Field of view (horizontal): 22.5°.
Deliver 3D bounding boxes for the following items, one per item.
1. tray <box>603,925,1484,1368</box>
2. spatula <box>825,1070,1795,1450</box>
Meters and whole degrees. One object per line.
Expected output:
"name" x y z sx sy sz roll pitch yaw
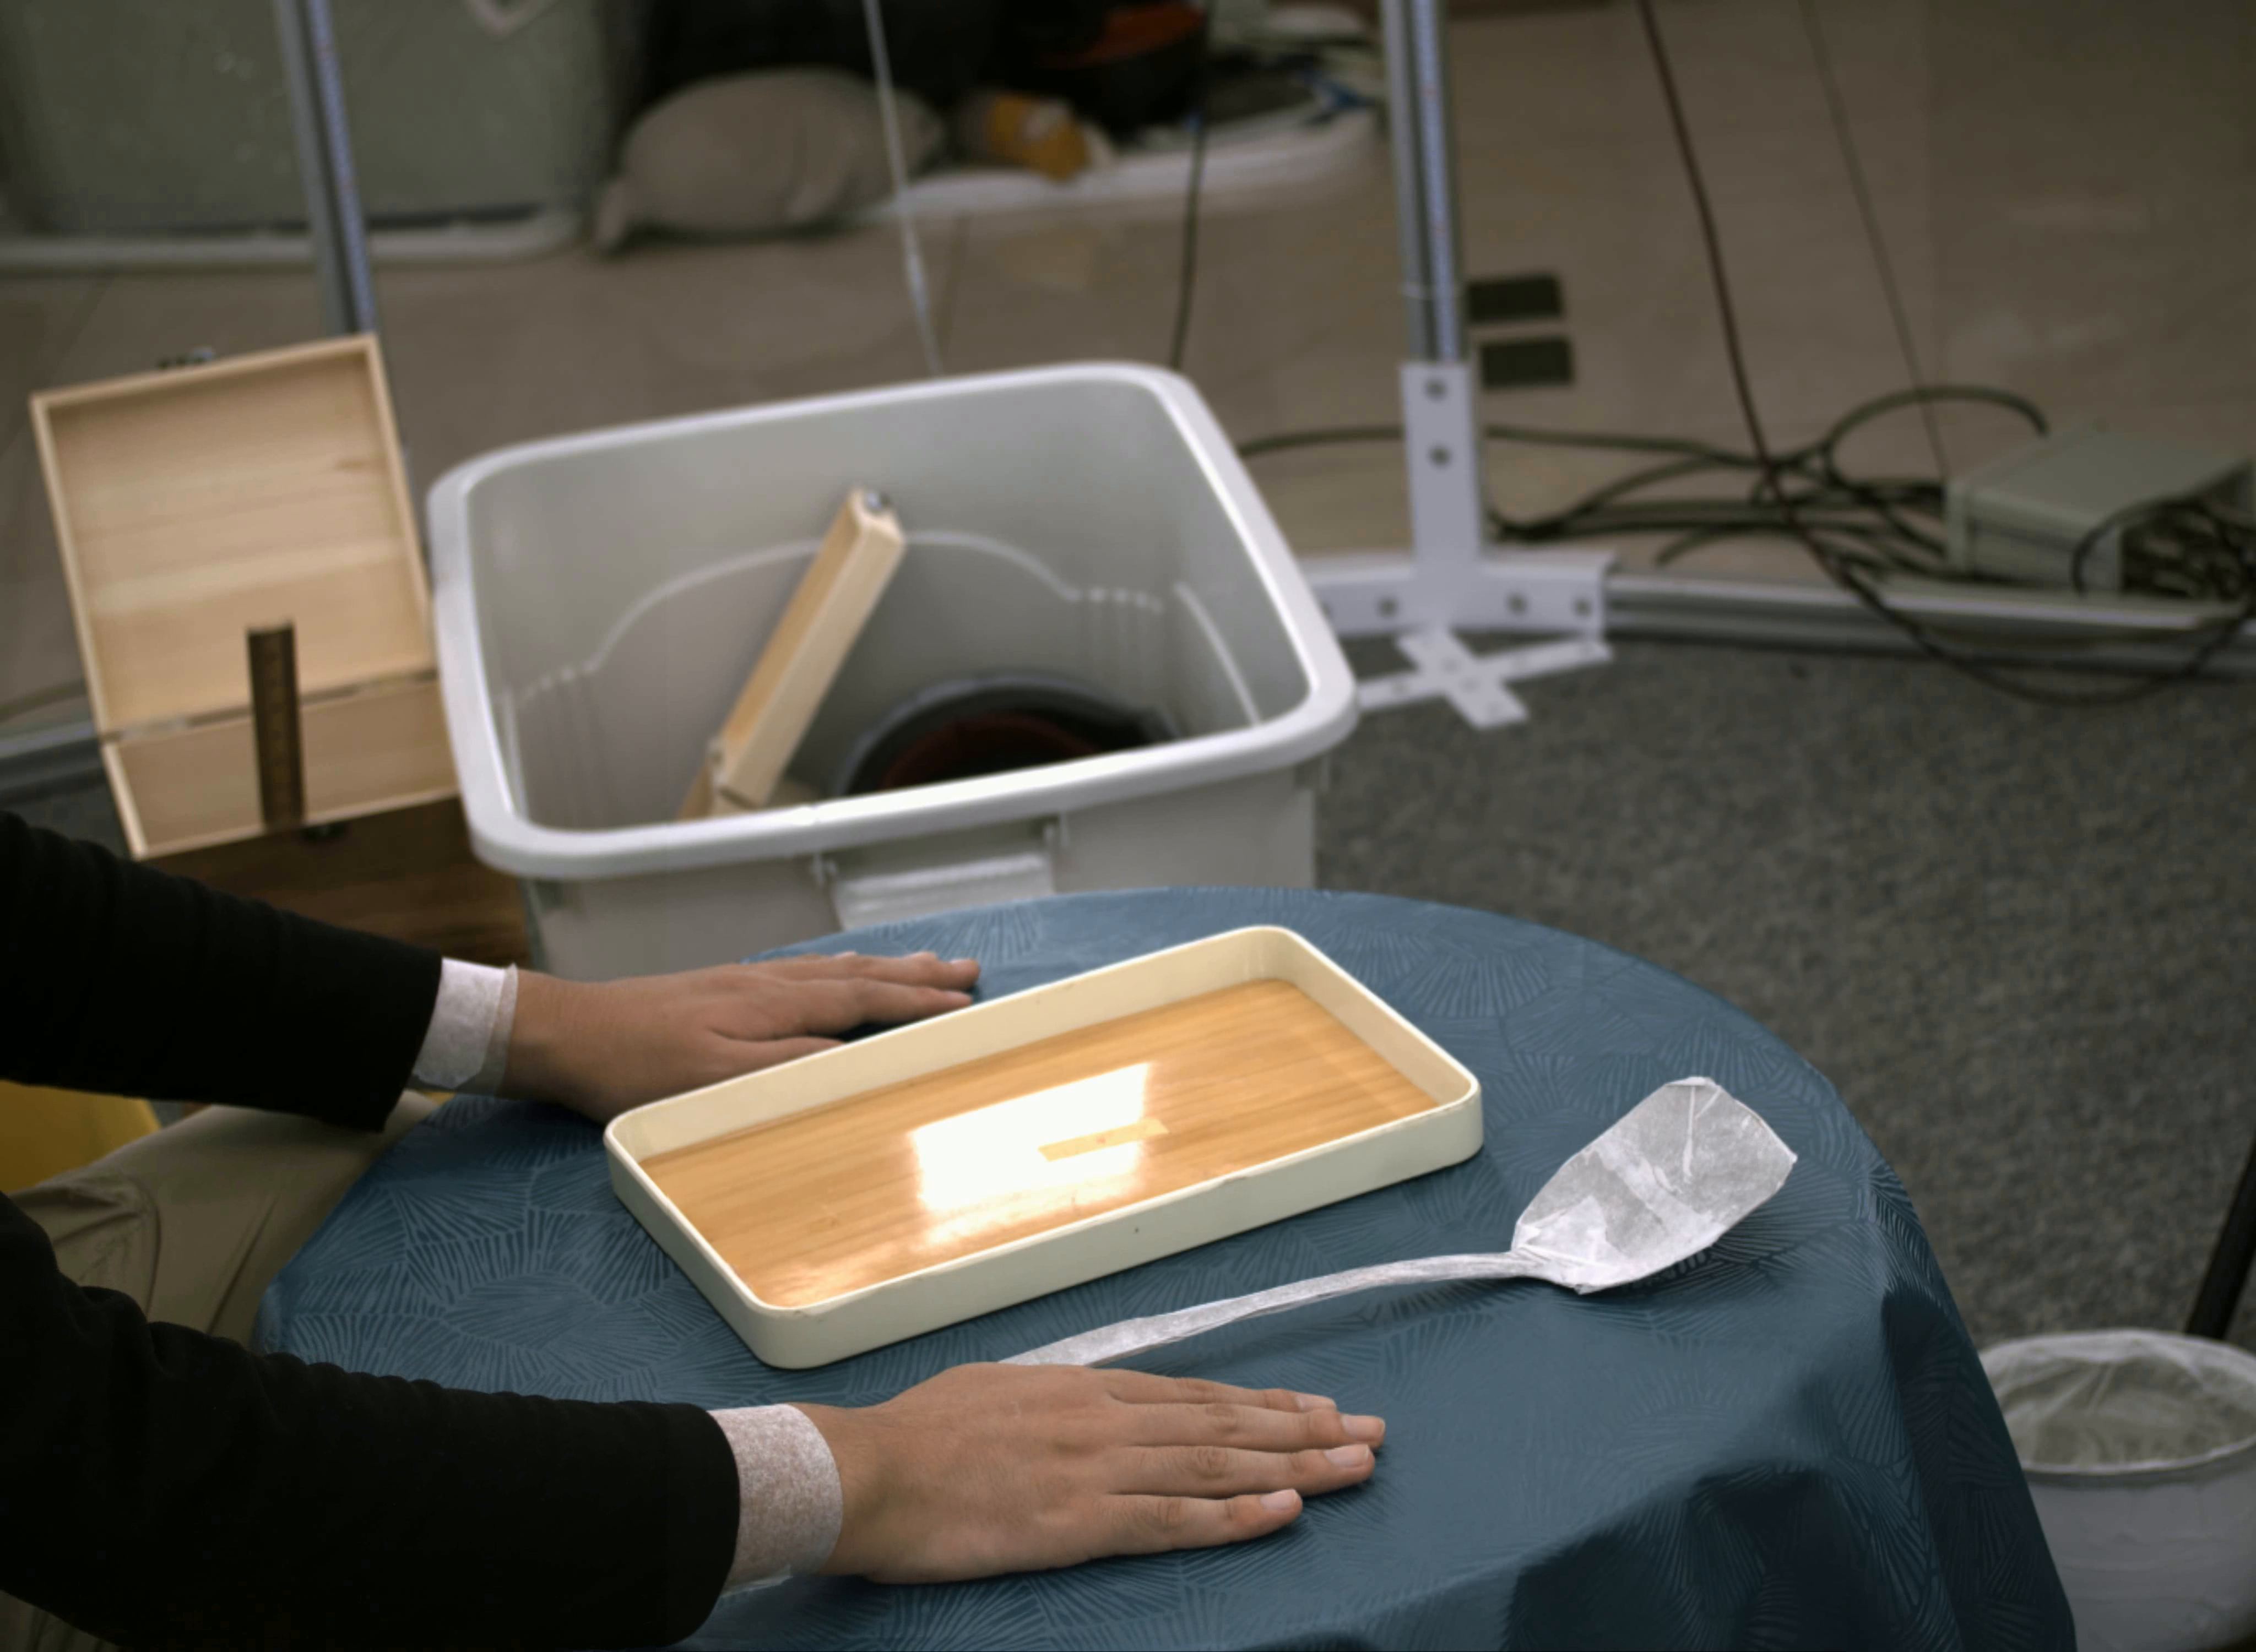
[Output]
"tray" -0.033 0.119 2.168 0.299 0.028 0.189 -16 26 -19
"spatula" 0.065 0.163 2.035 0.364 0.045 0.097 -13 27 -15
